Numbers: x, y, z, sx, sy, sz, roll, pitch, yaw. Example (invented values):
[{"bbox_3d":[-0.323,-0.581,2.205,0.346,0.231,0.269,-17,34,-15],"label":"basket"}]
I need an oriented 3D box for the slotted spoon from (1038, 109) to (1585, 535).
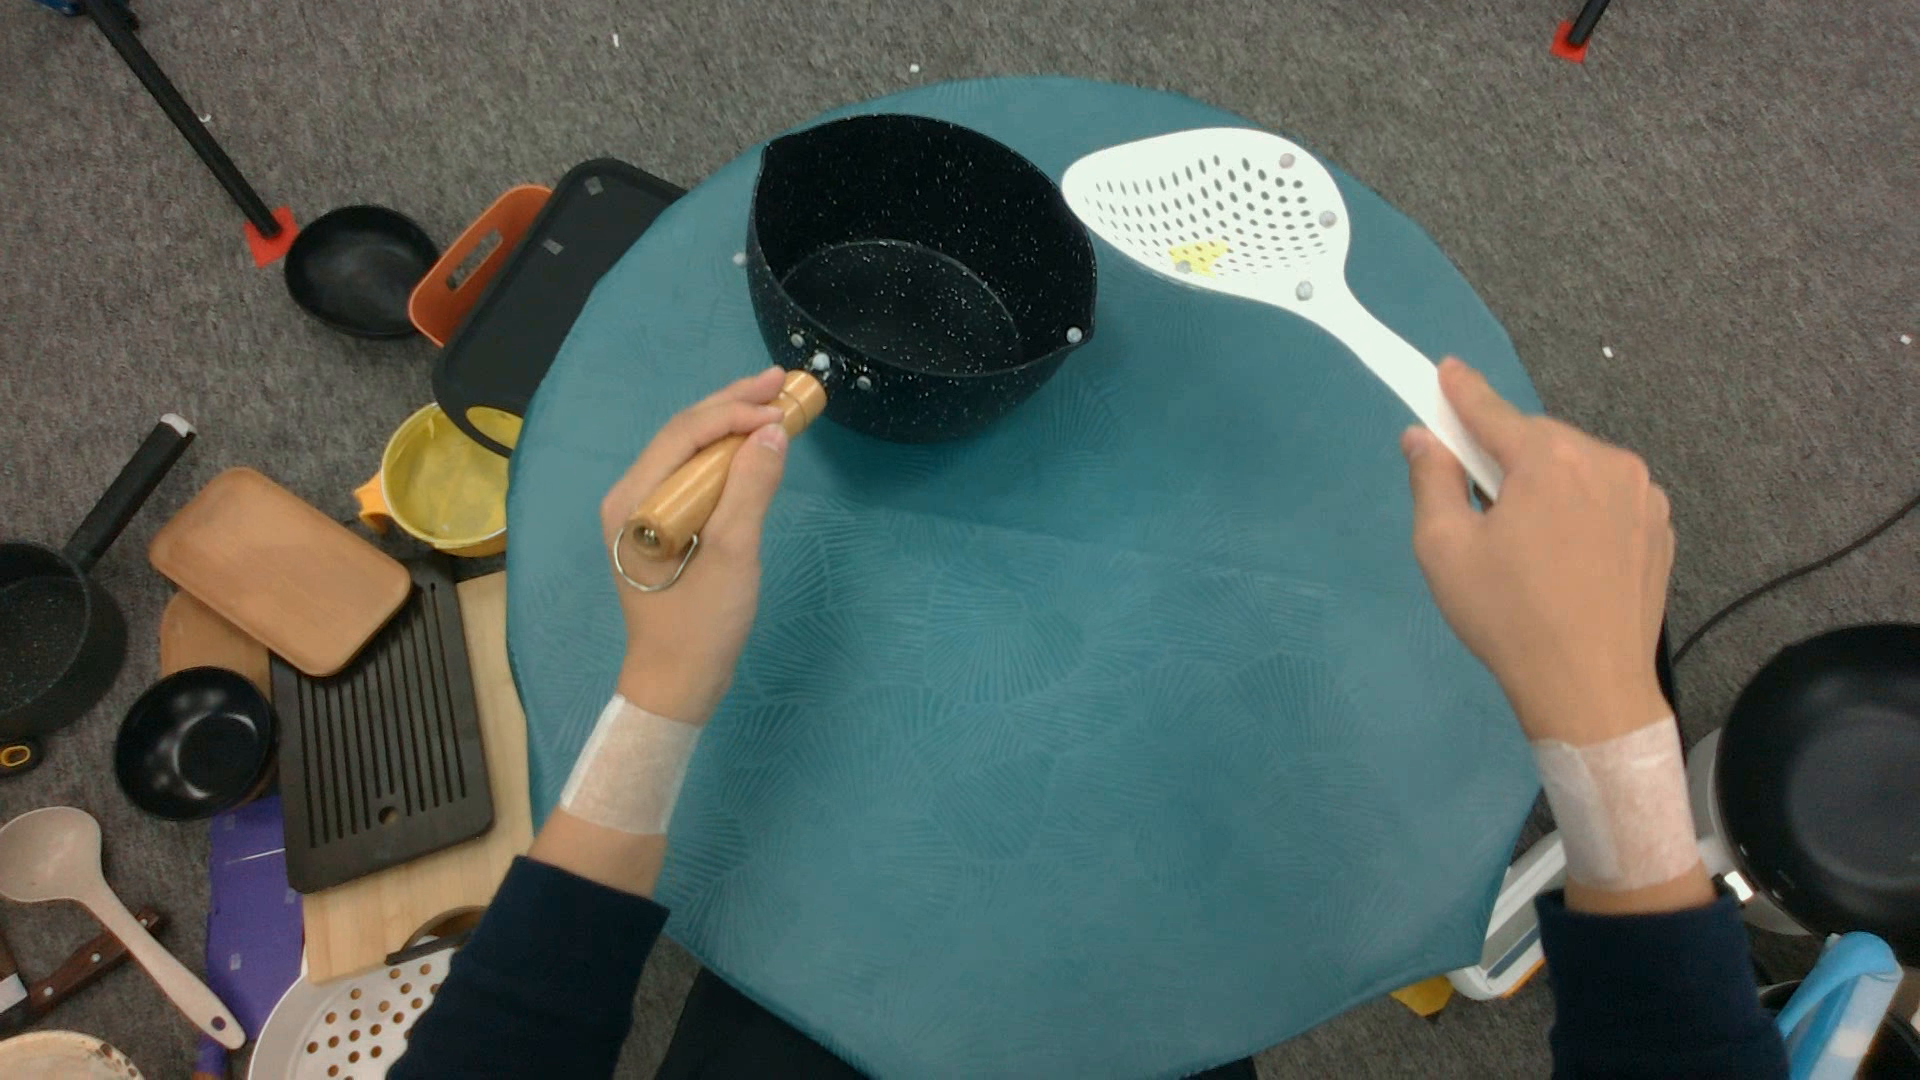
[{"bbox_3d":[0.153,-0.114,0.630,0.137,0.050,0.348,-16,40,-17],"label":"slotted spoon"}]

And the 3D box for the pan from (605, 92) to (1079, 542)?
[{"bbox_3d":[-0.068,-0.096,0.691,0.207,0.107,0.344,31,53,2],"label":"pan"}]
